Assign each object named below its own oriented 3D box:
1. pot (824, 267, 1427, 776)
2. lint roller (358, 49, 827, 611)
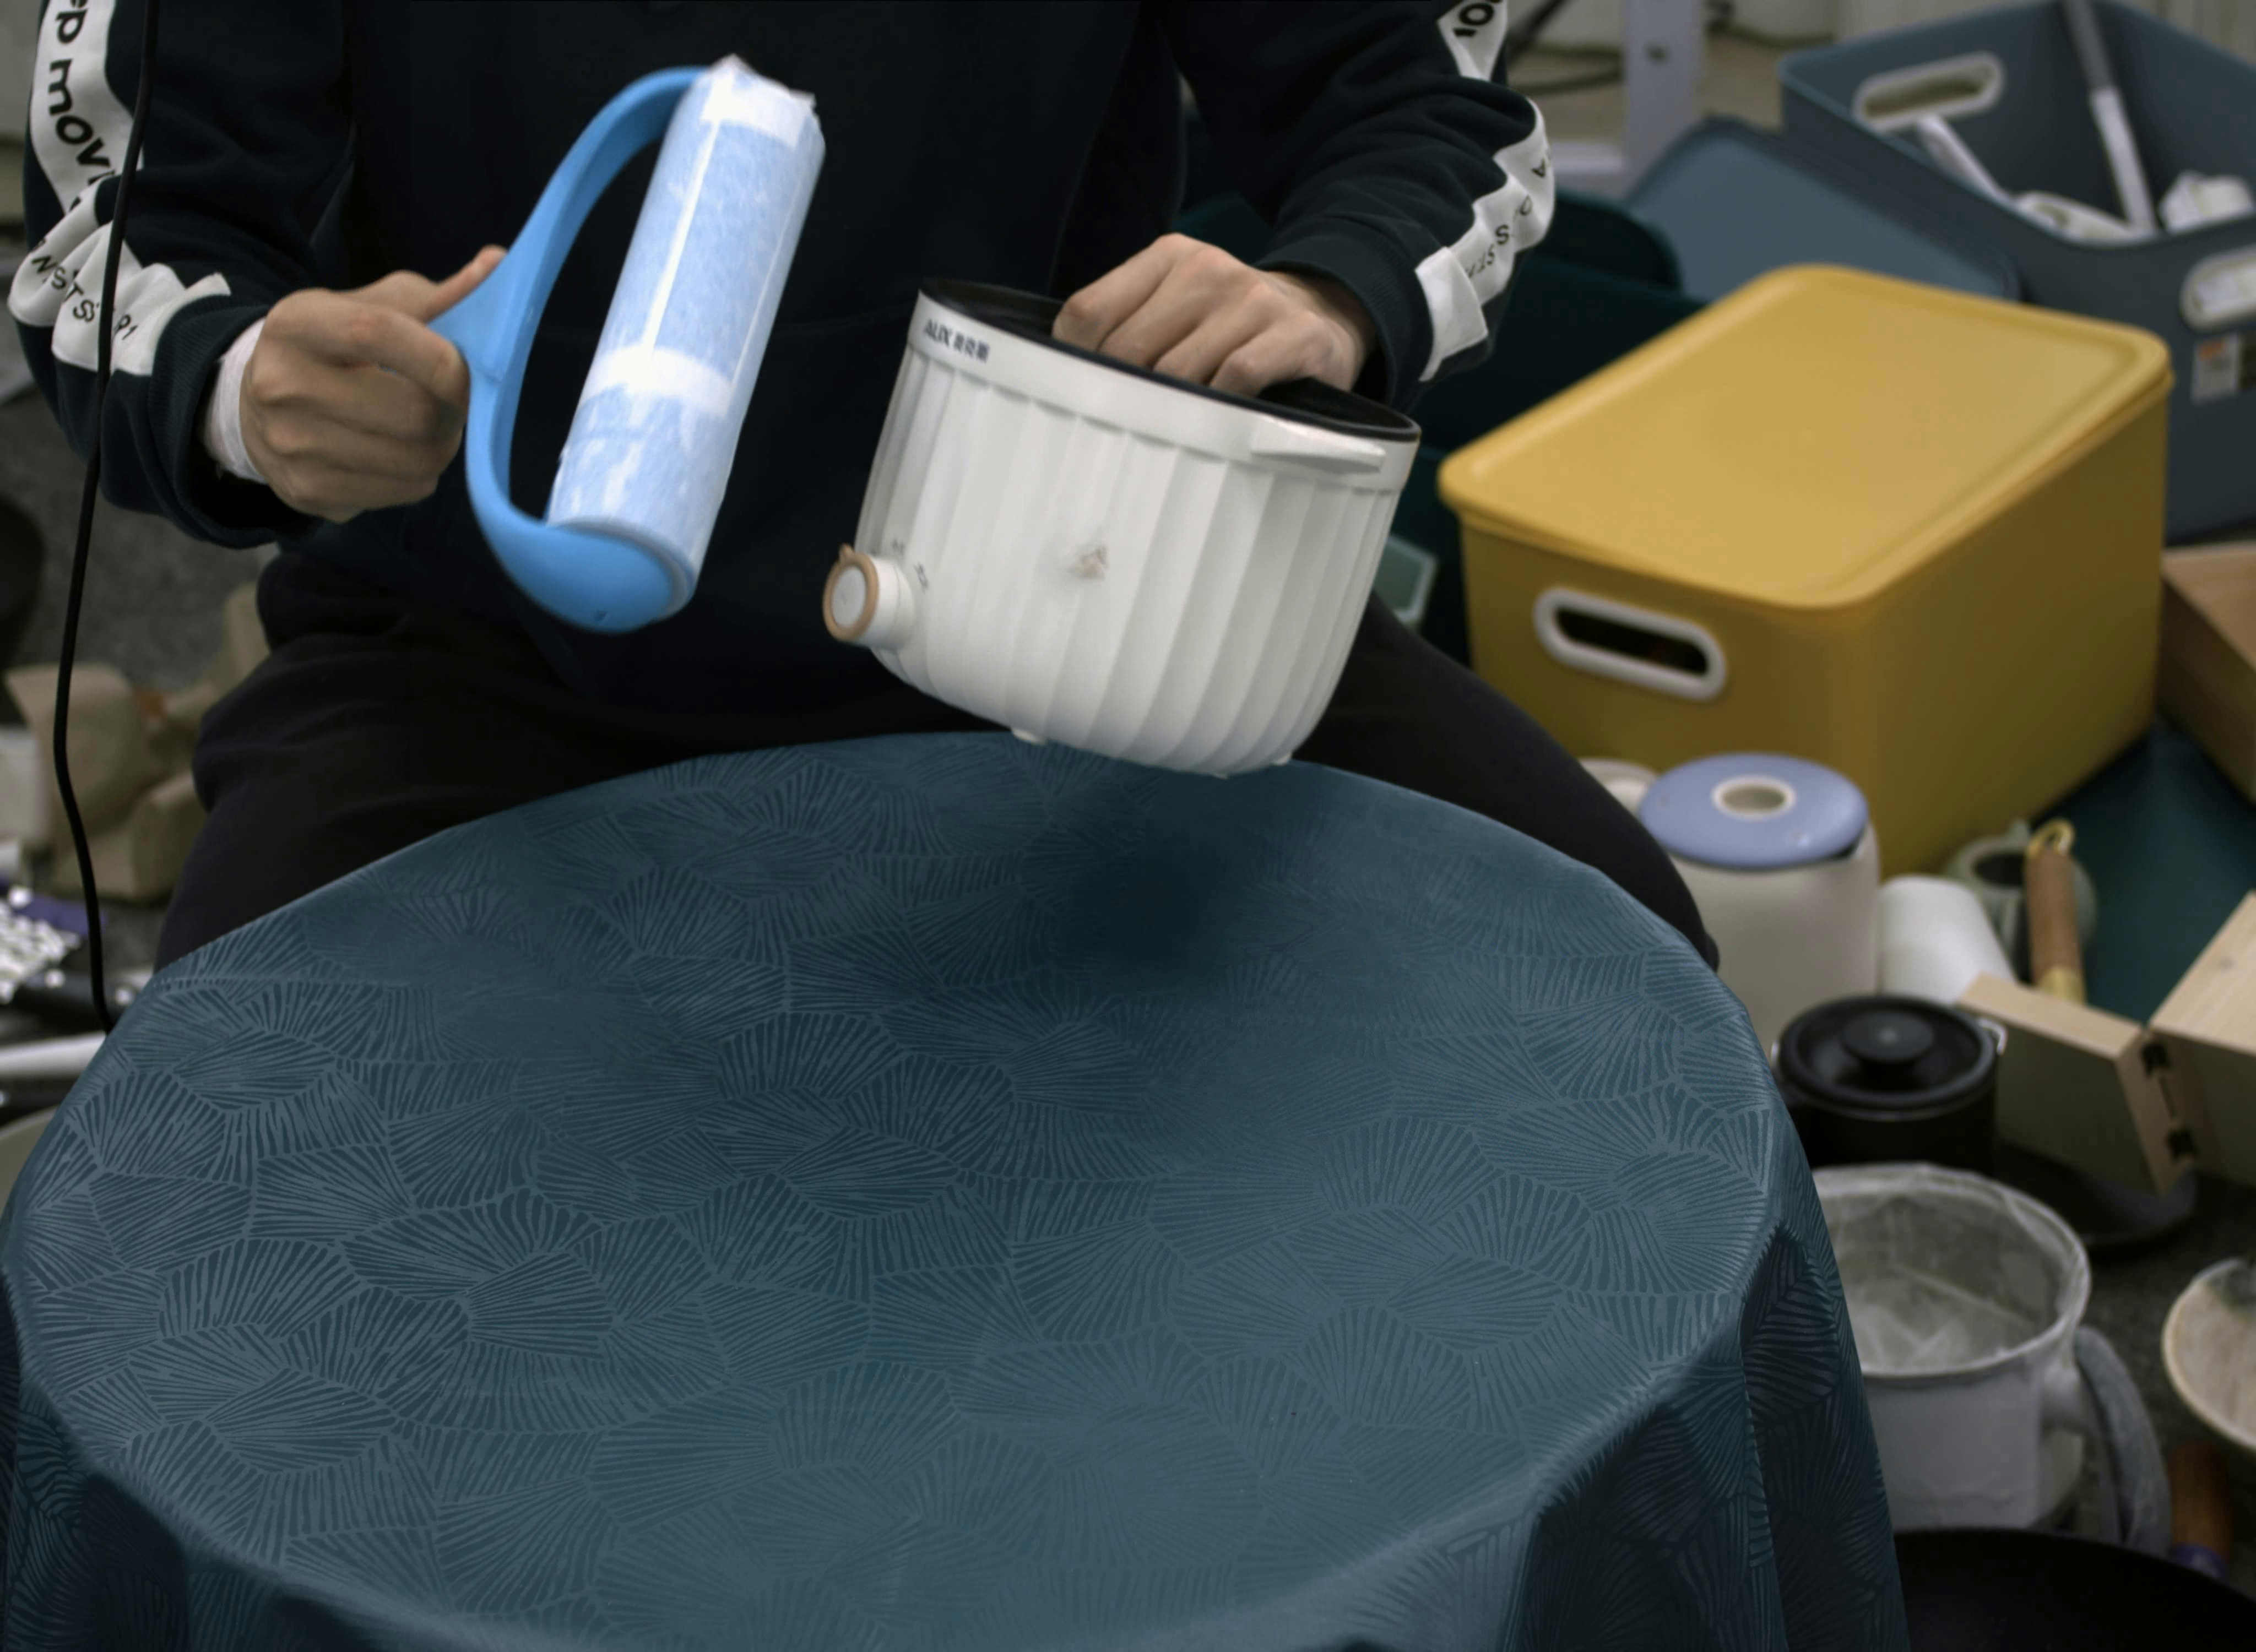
[{"bbox_3d":[-0.007,-0.103,1.954,0.190,0.143,0.240,15,6,-37],"label":"pot"},{"bbox_3d":[-0.195,-0.154,1.874,0.178,0.067,0.233,-12,49,23],"label":"lint roller"}]
